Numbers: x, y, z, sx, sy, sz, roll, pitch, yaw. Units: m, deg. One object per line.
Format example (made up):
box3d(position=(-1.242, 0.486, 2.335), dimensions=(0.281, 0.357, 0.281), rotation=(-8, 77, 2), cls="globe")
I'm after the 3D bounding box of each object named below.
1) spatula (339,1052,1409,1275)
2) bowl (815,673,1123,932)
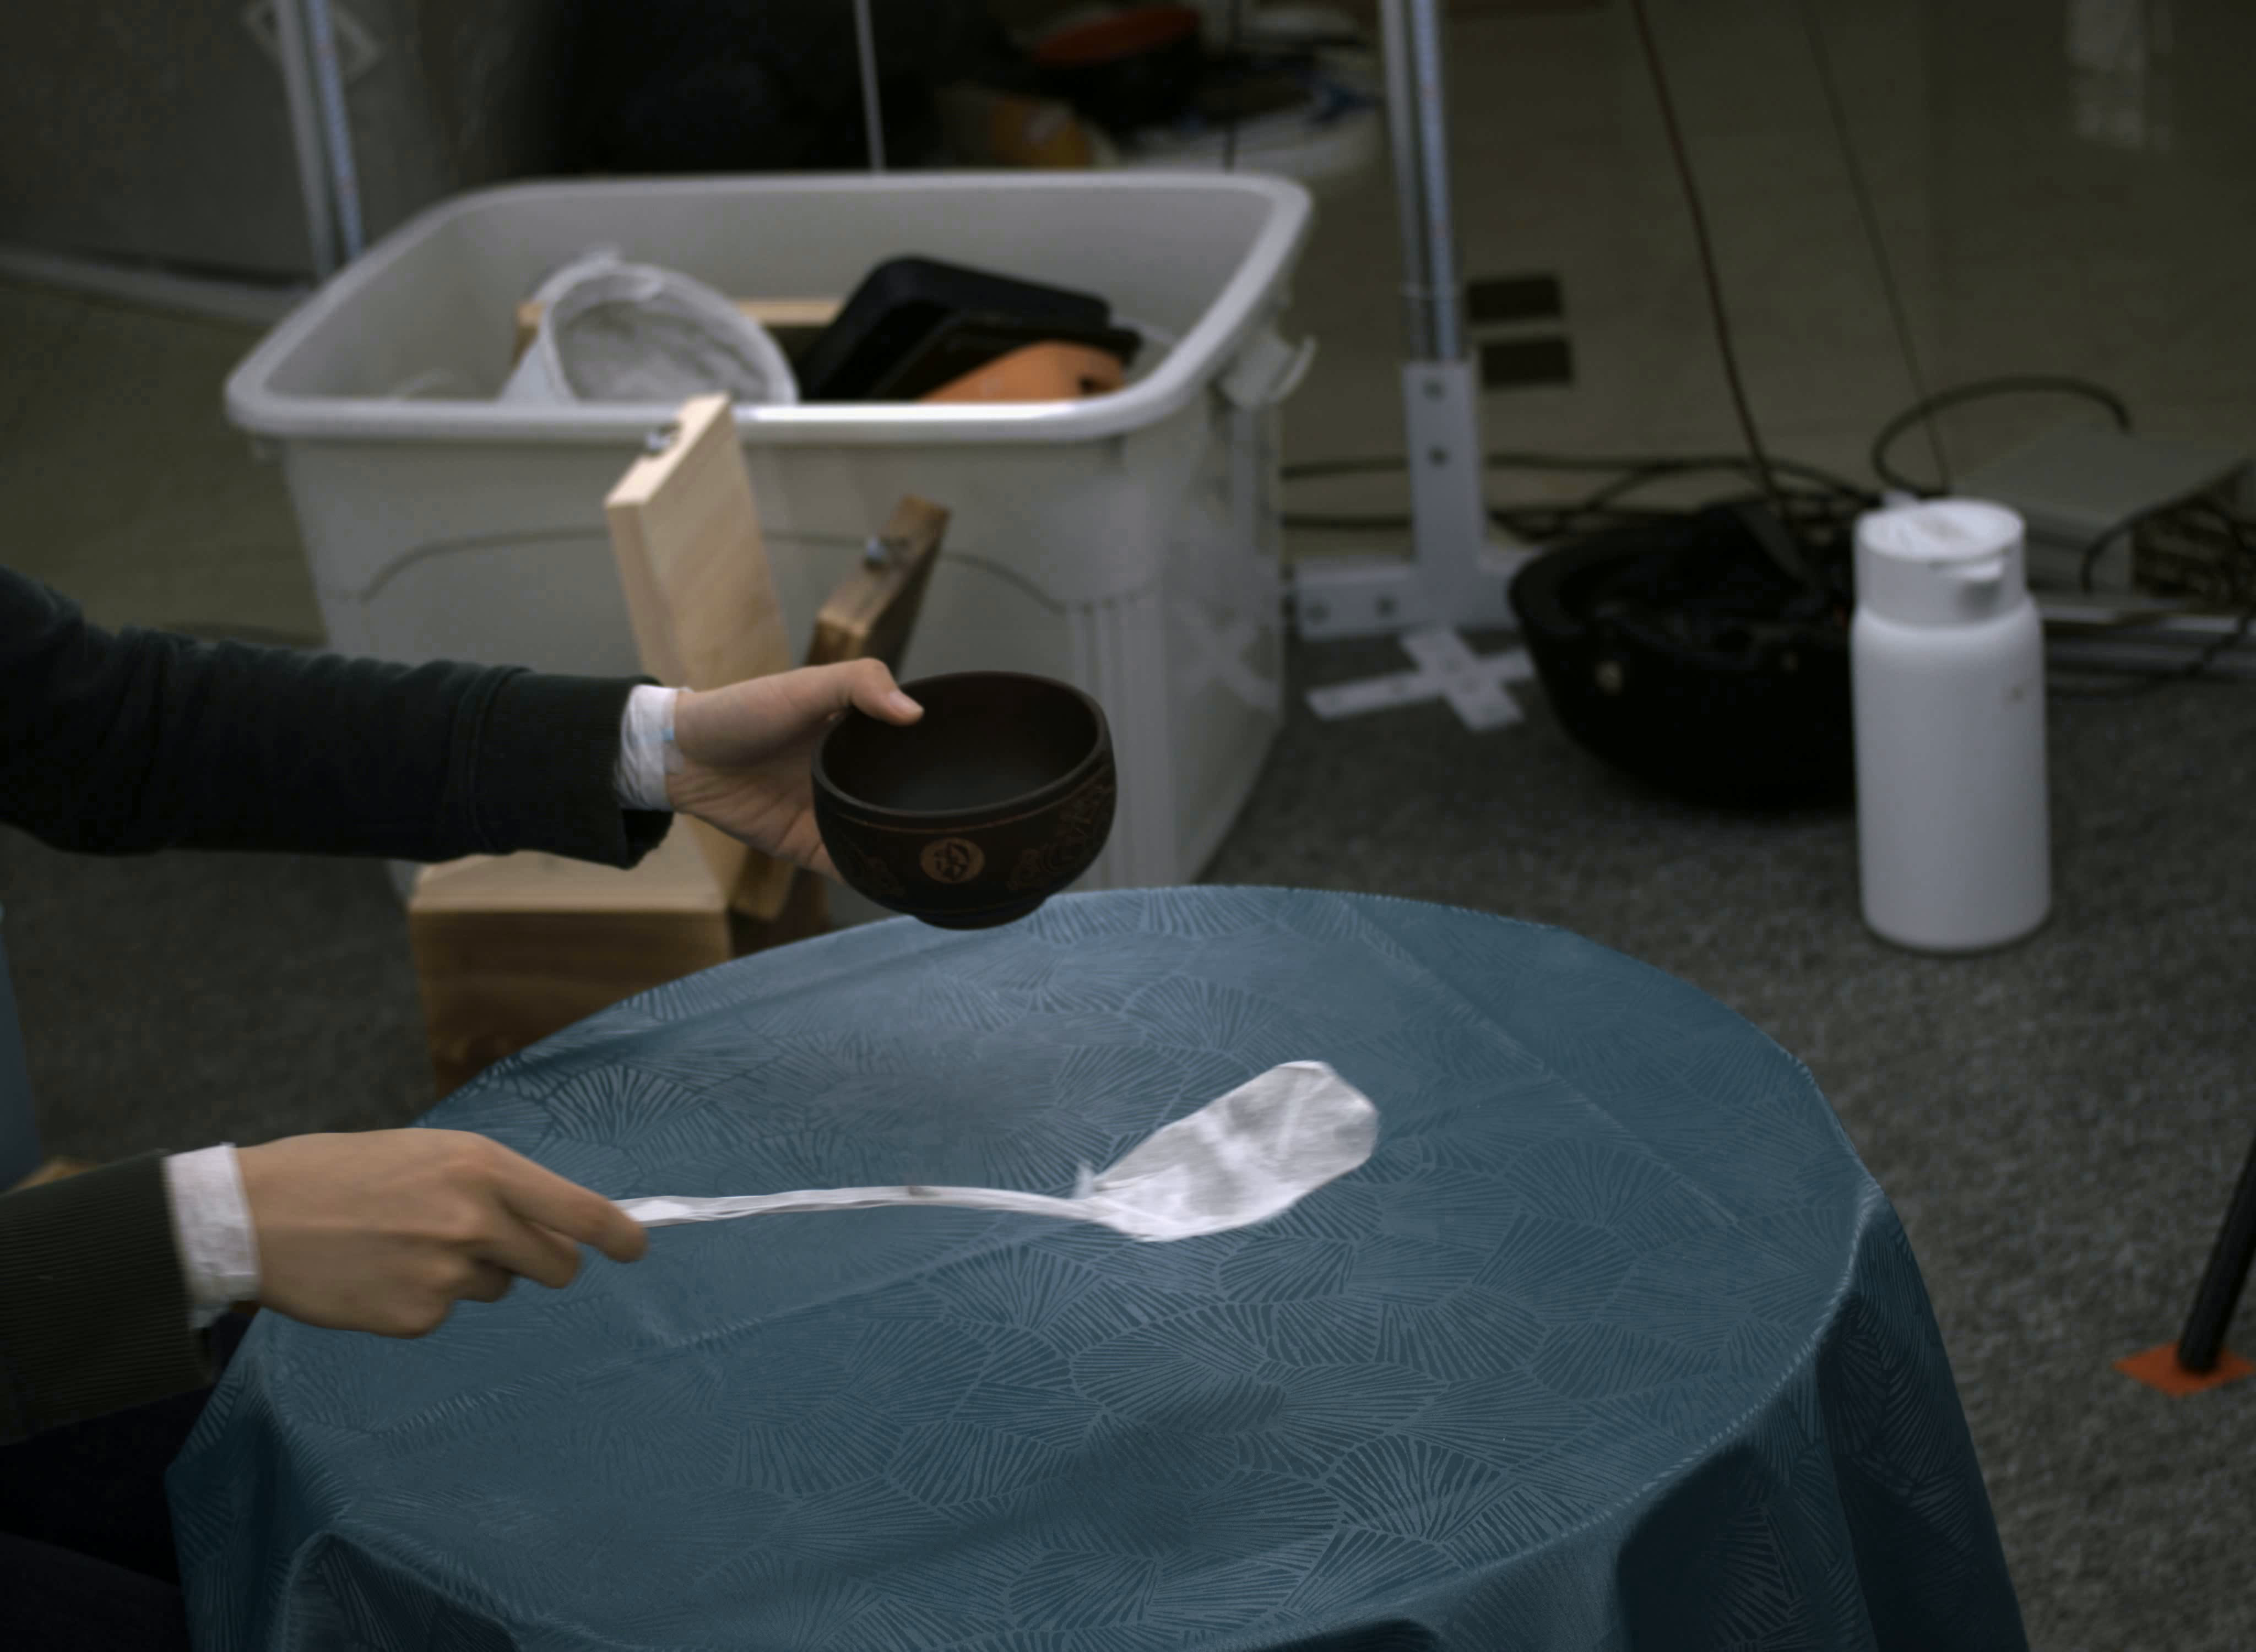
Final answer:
box3d(position=(-0.084, 0.121, 1.918), dimensions=(0.364, 0.045, 0.097), rotation=(-3, 21, -14), cls="spatula")
box3d(position=(-0.059, -0.003, 2.177), dimensions=(0.118, 0.071, 0.116), rotation=(-5, 29, 3), cls="bowl")
